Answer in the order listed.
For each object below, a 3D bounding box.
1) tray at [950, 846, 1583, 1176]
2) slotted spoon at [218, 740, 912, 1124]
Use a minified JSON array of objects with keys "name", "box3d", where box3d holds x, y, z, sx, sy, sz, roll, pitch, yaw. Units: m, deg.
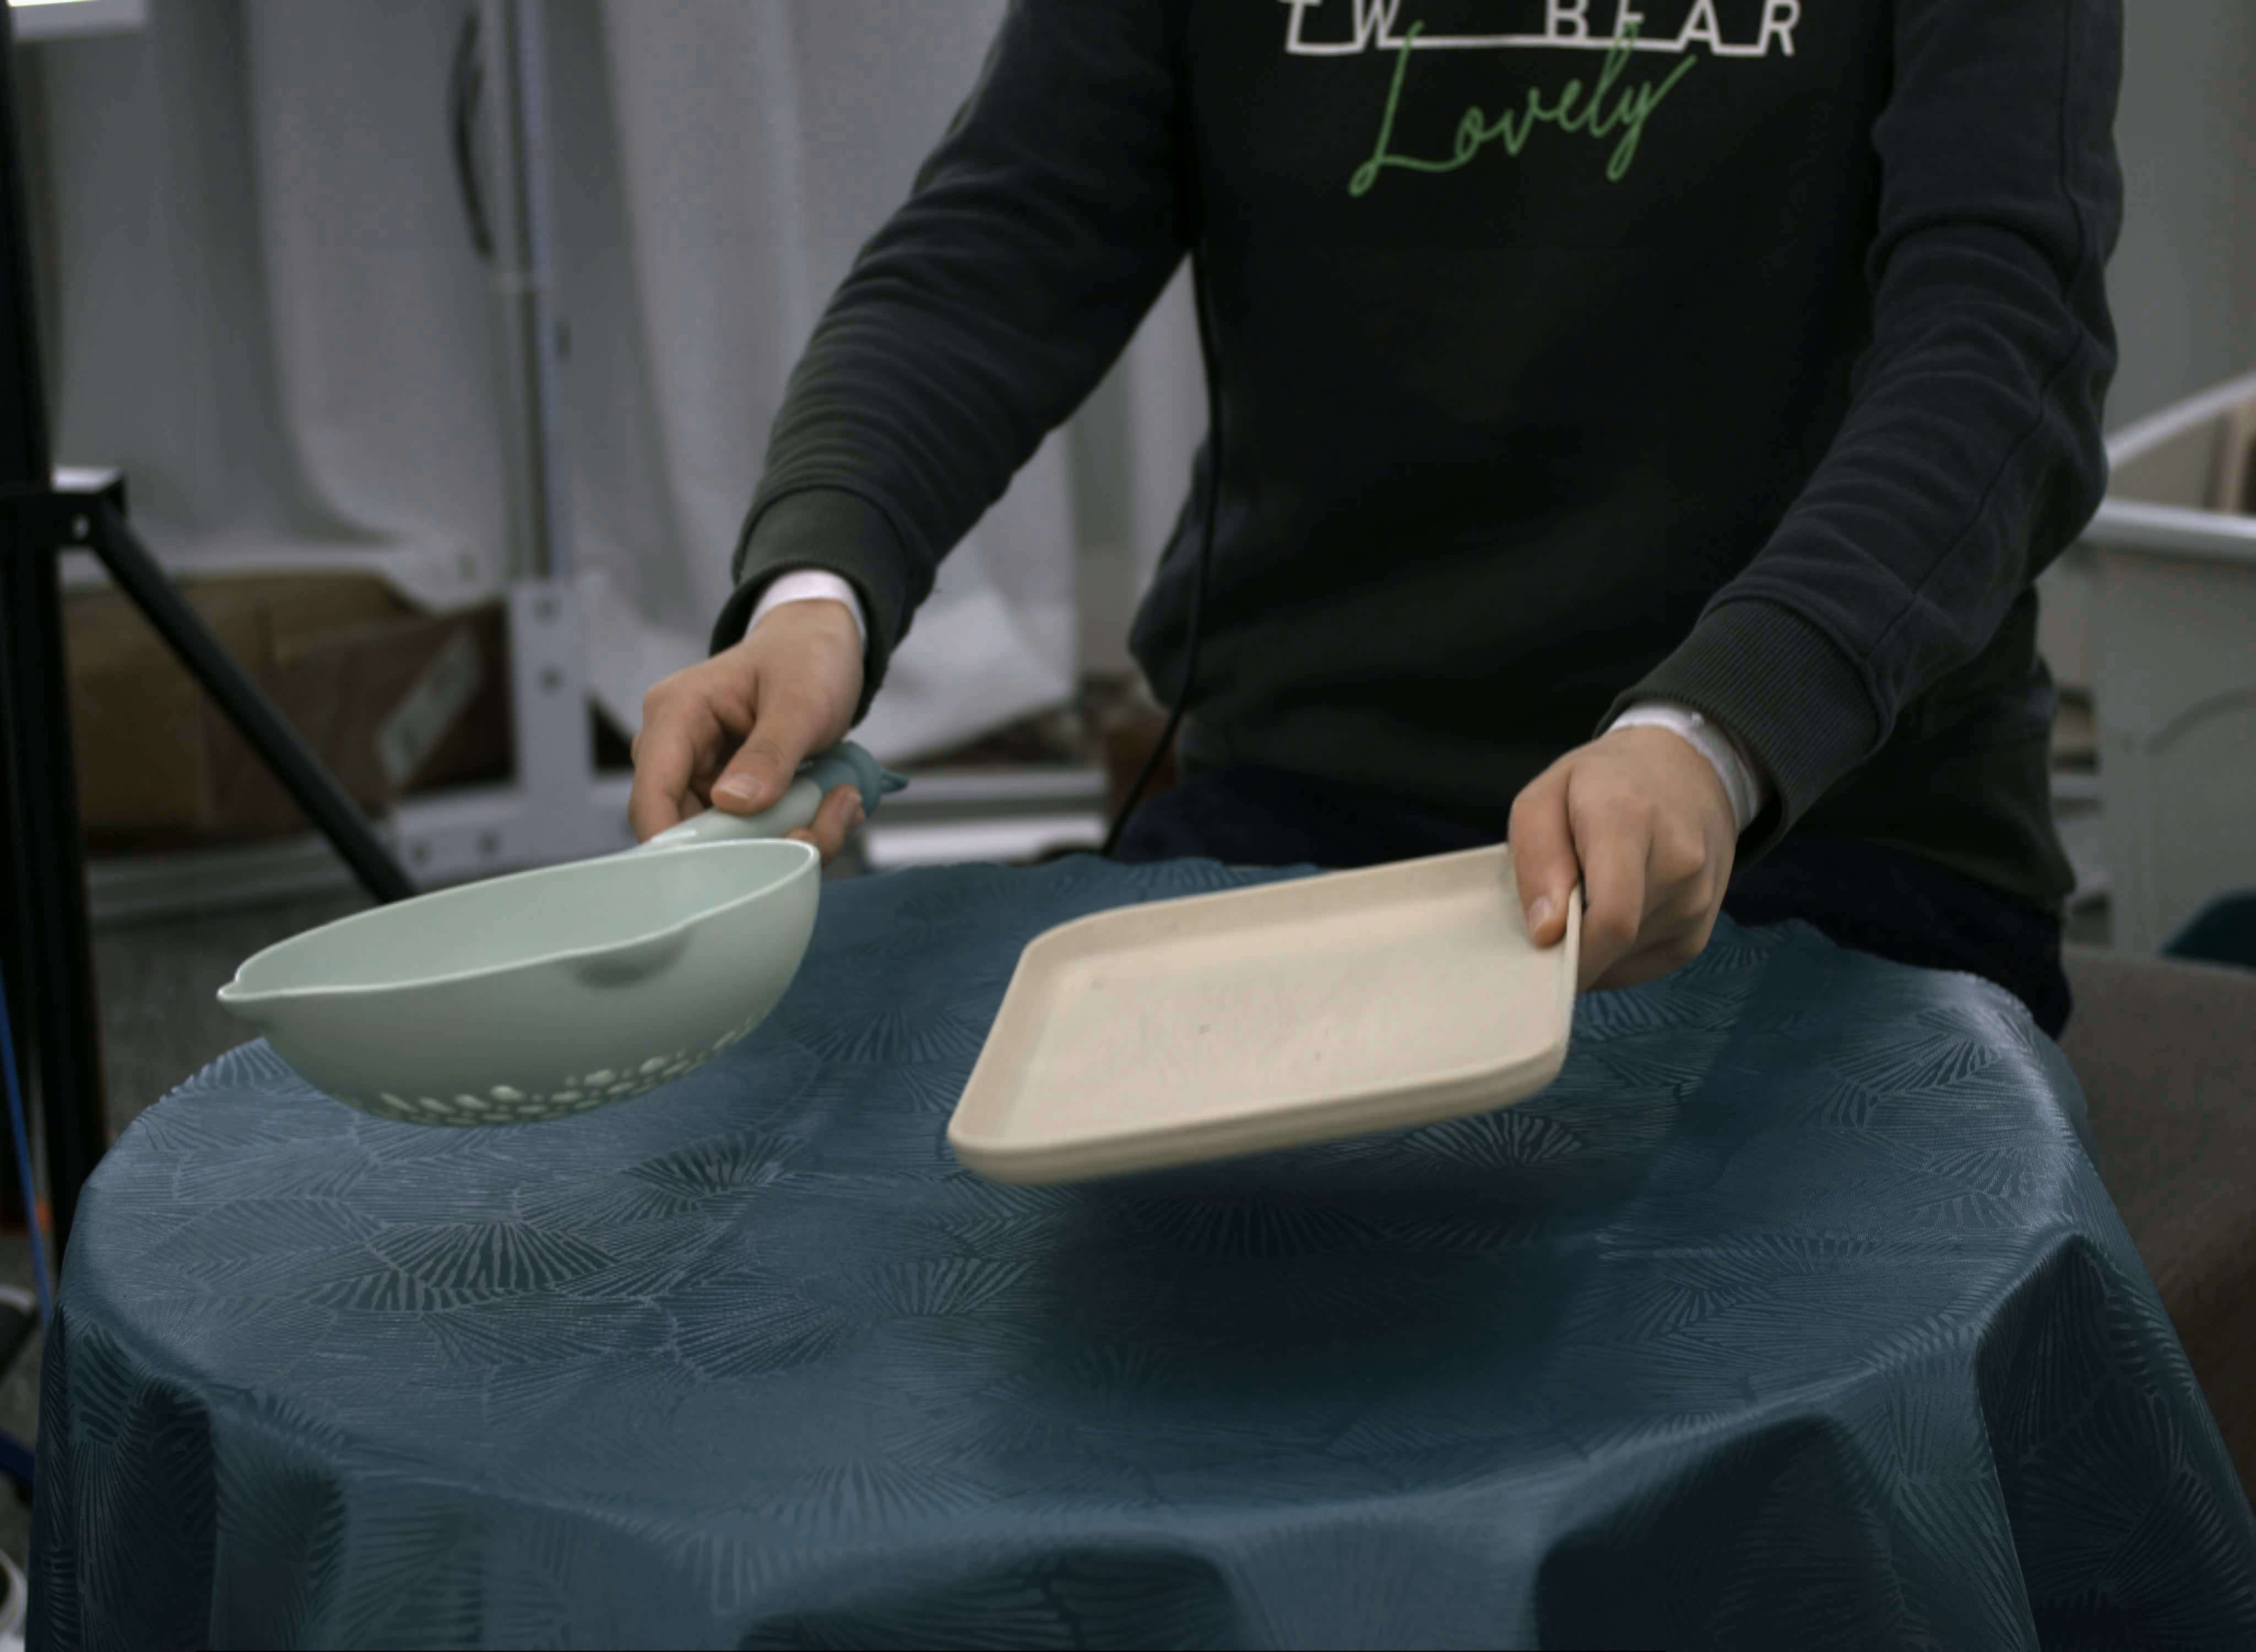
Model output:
[{"name":"tray","box3d":[0.044,0.051,1.482,0.171,0.017,0.239,-10,12,8]},{"name":"slotted spoon","box3d":[-0.136,0.015,1.597,0.171,0.075,0.356,-8,17,20]}]
